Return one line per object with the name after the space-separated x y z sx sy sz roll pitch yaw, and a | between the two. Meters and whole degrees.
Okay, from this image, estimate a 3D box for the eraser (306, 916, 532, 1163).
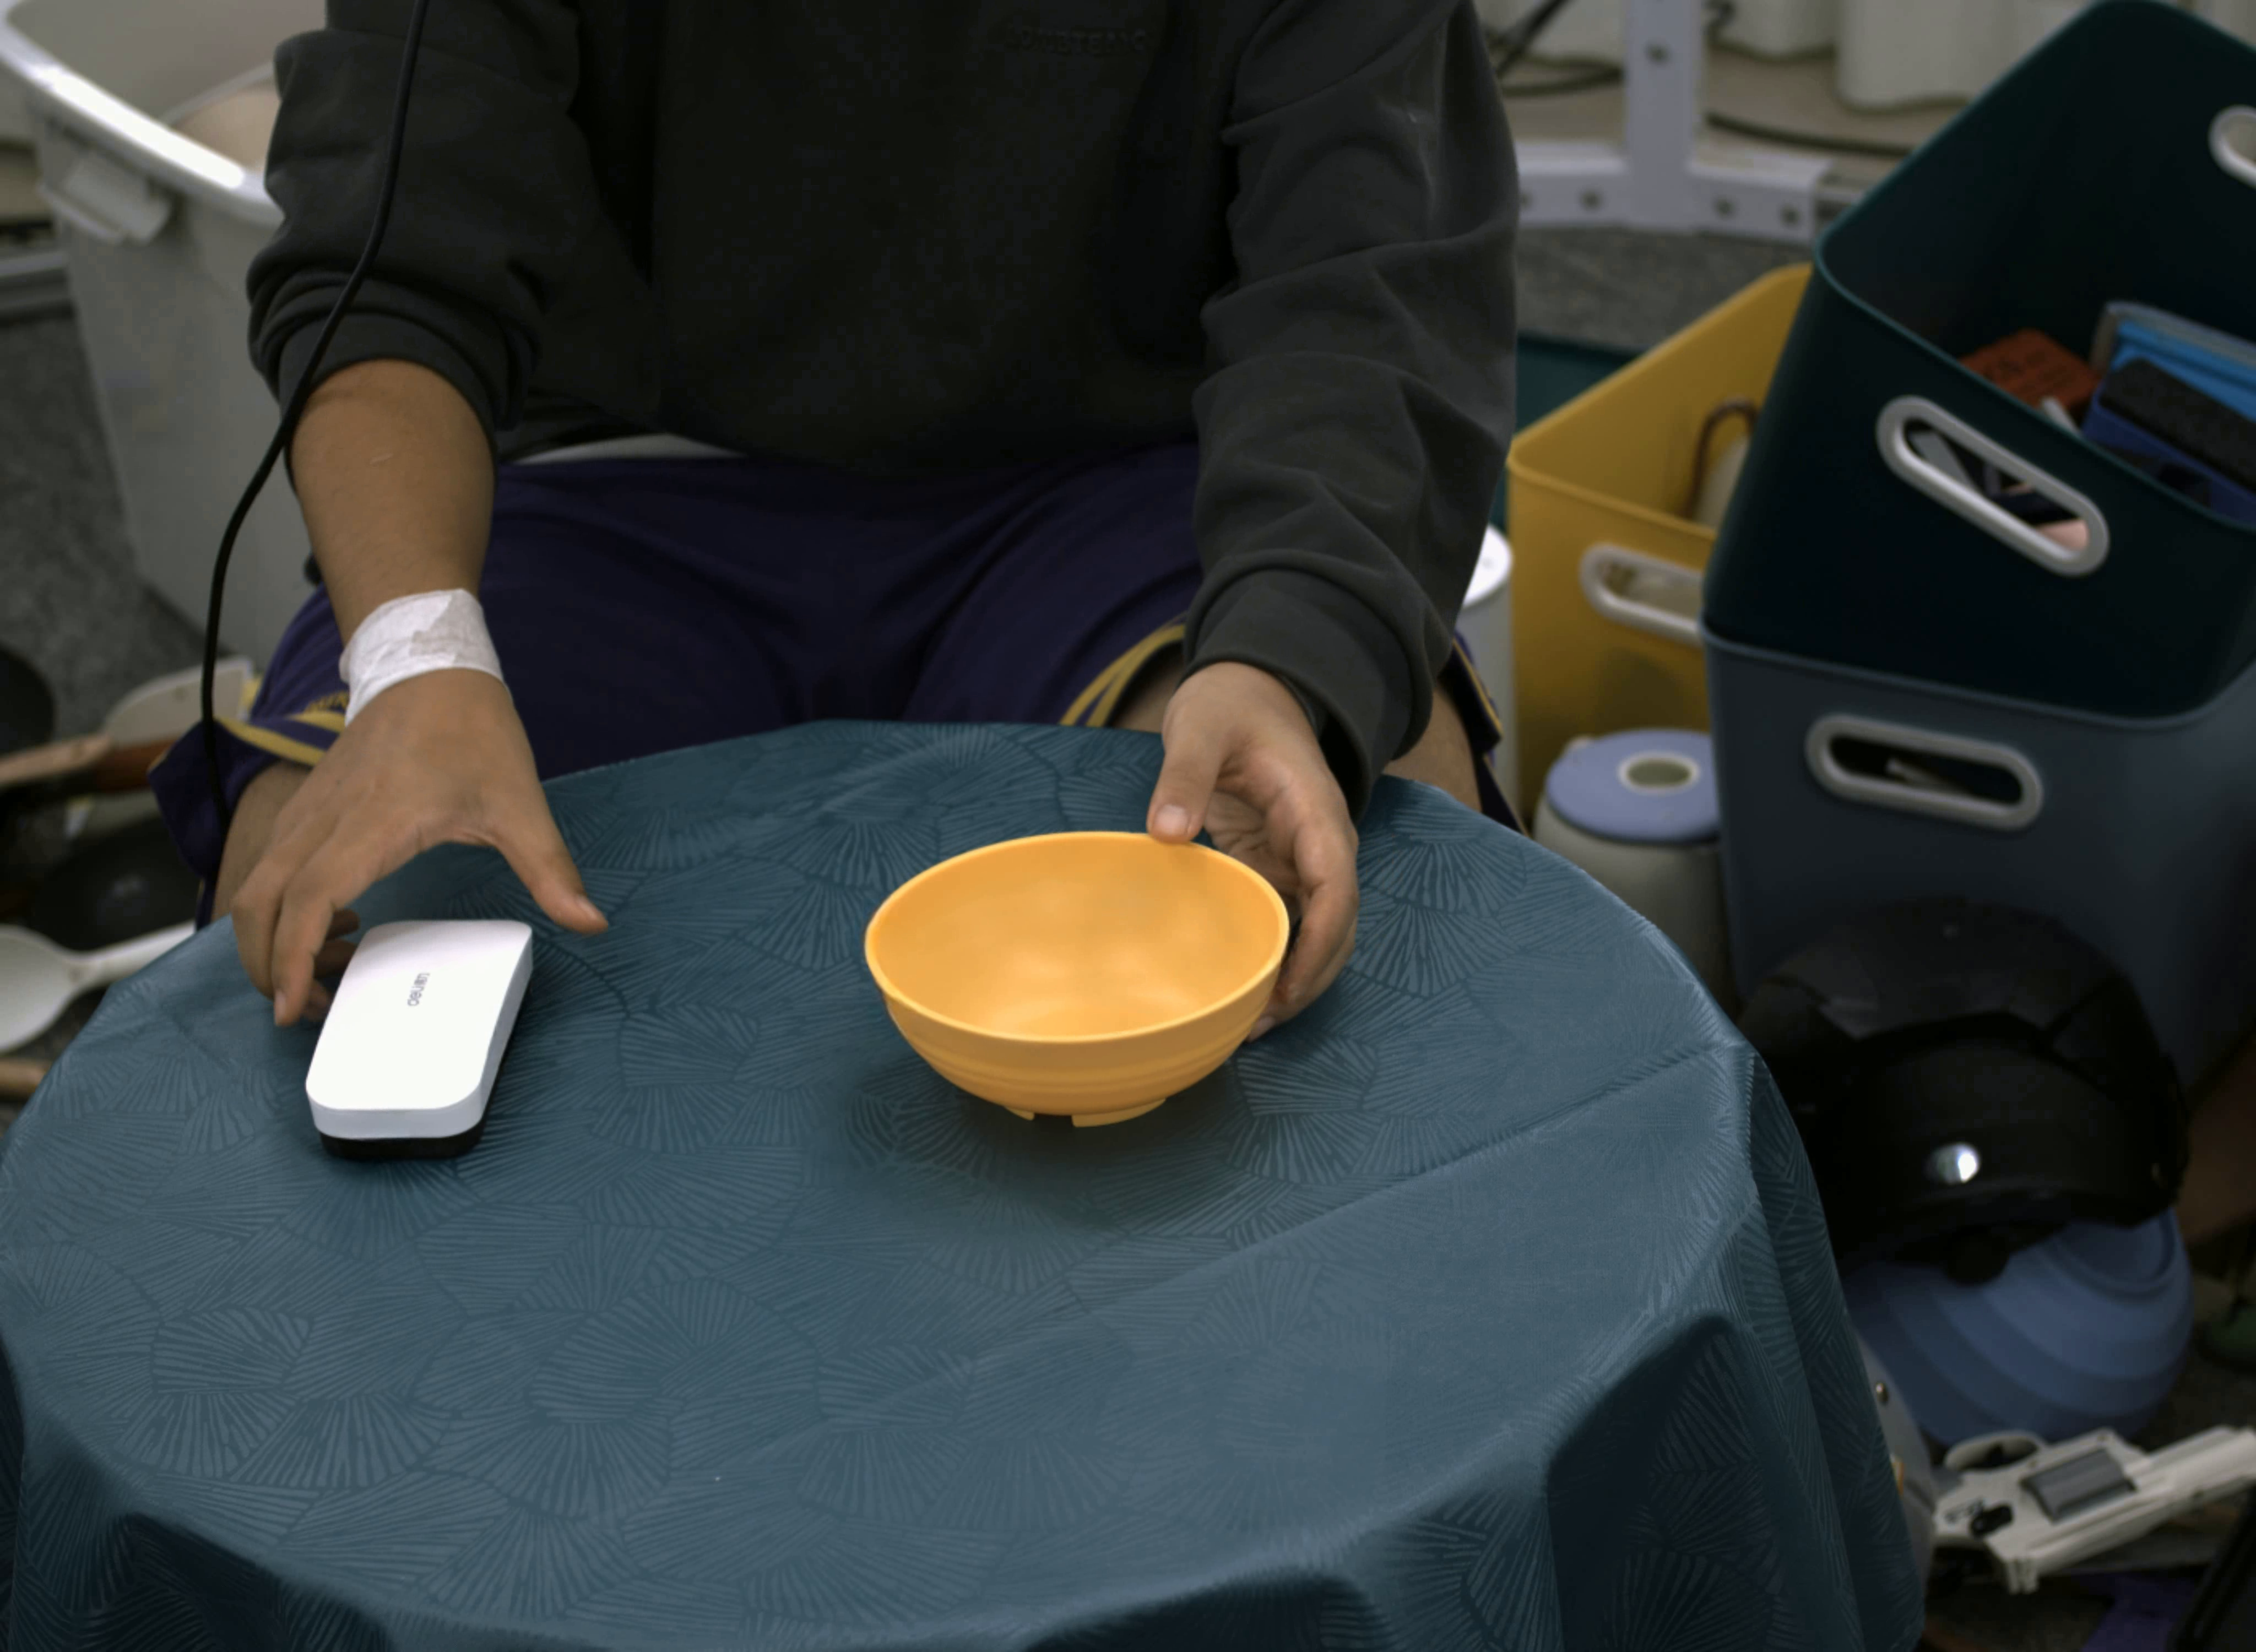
-0.243 0.071 1.950 0.063 0.034 0.133 0 29 5 | eraser

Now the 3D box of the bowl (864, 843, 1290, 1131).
-0.016 0.064 1.918 0.144 0.059 0.147 -2 25 1 | bowl
